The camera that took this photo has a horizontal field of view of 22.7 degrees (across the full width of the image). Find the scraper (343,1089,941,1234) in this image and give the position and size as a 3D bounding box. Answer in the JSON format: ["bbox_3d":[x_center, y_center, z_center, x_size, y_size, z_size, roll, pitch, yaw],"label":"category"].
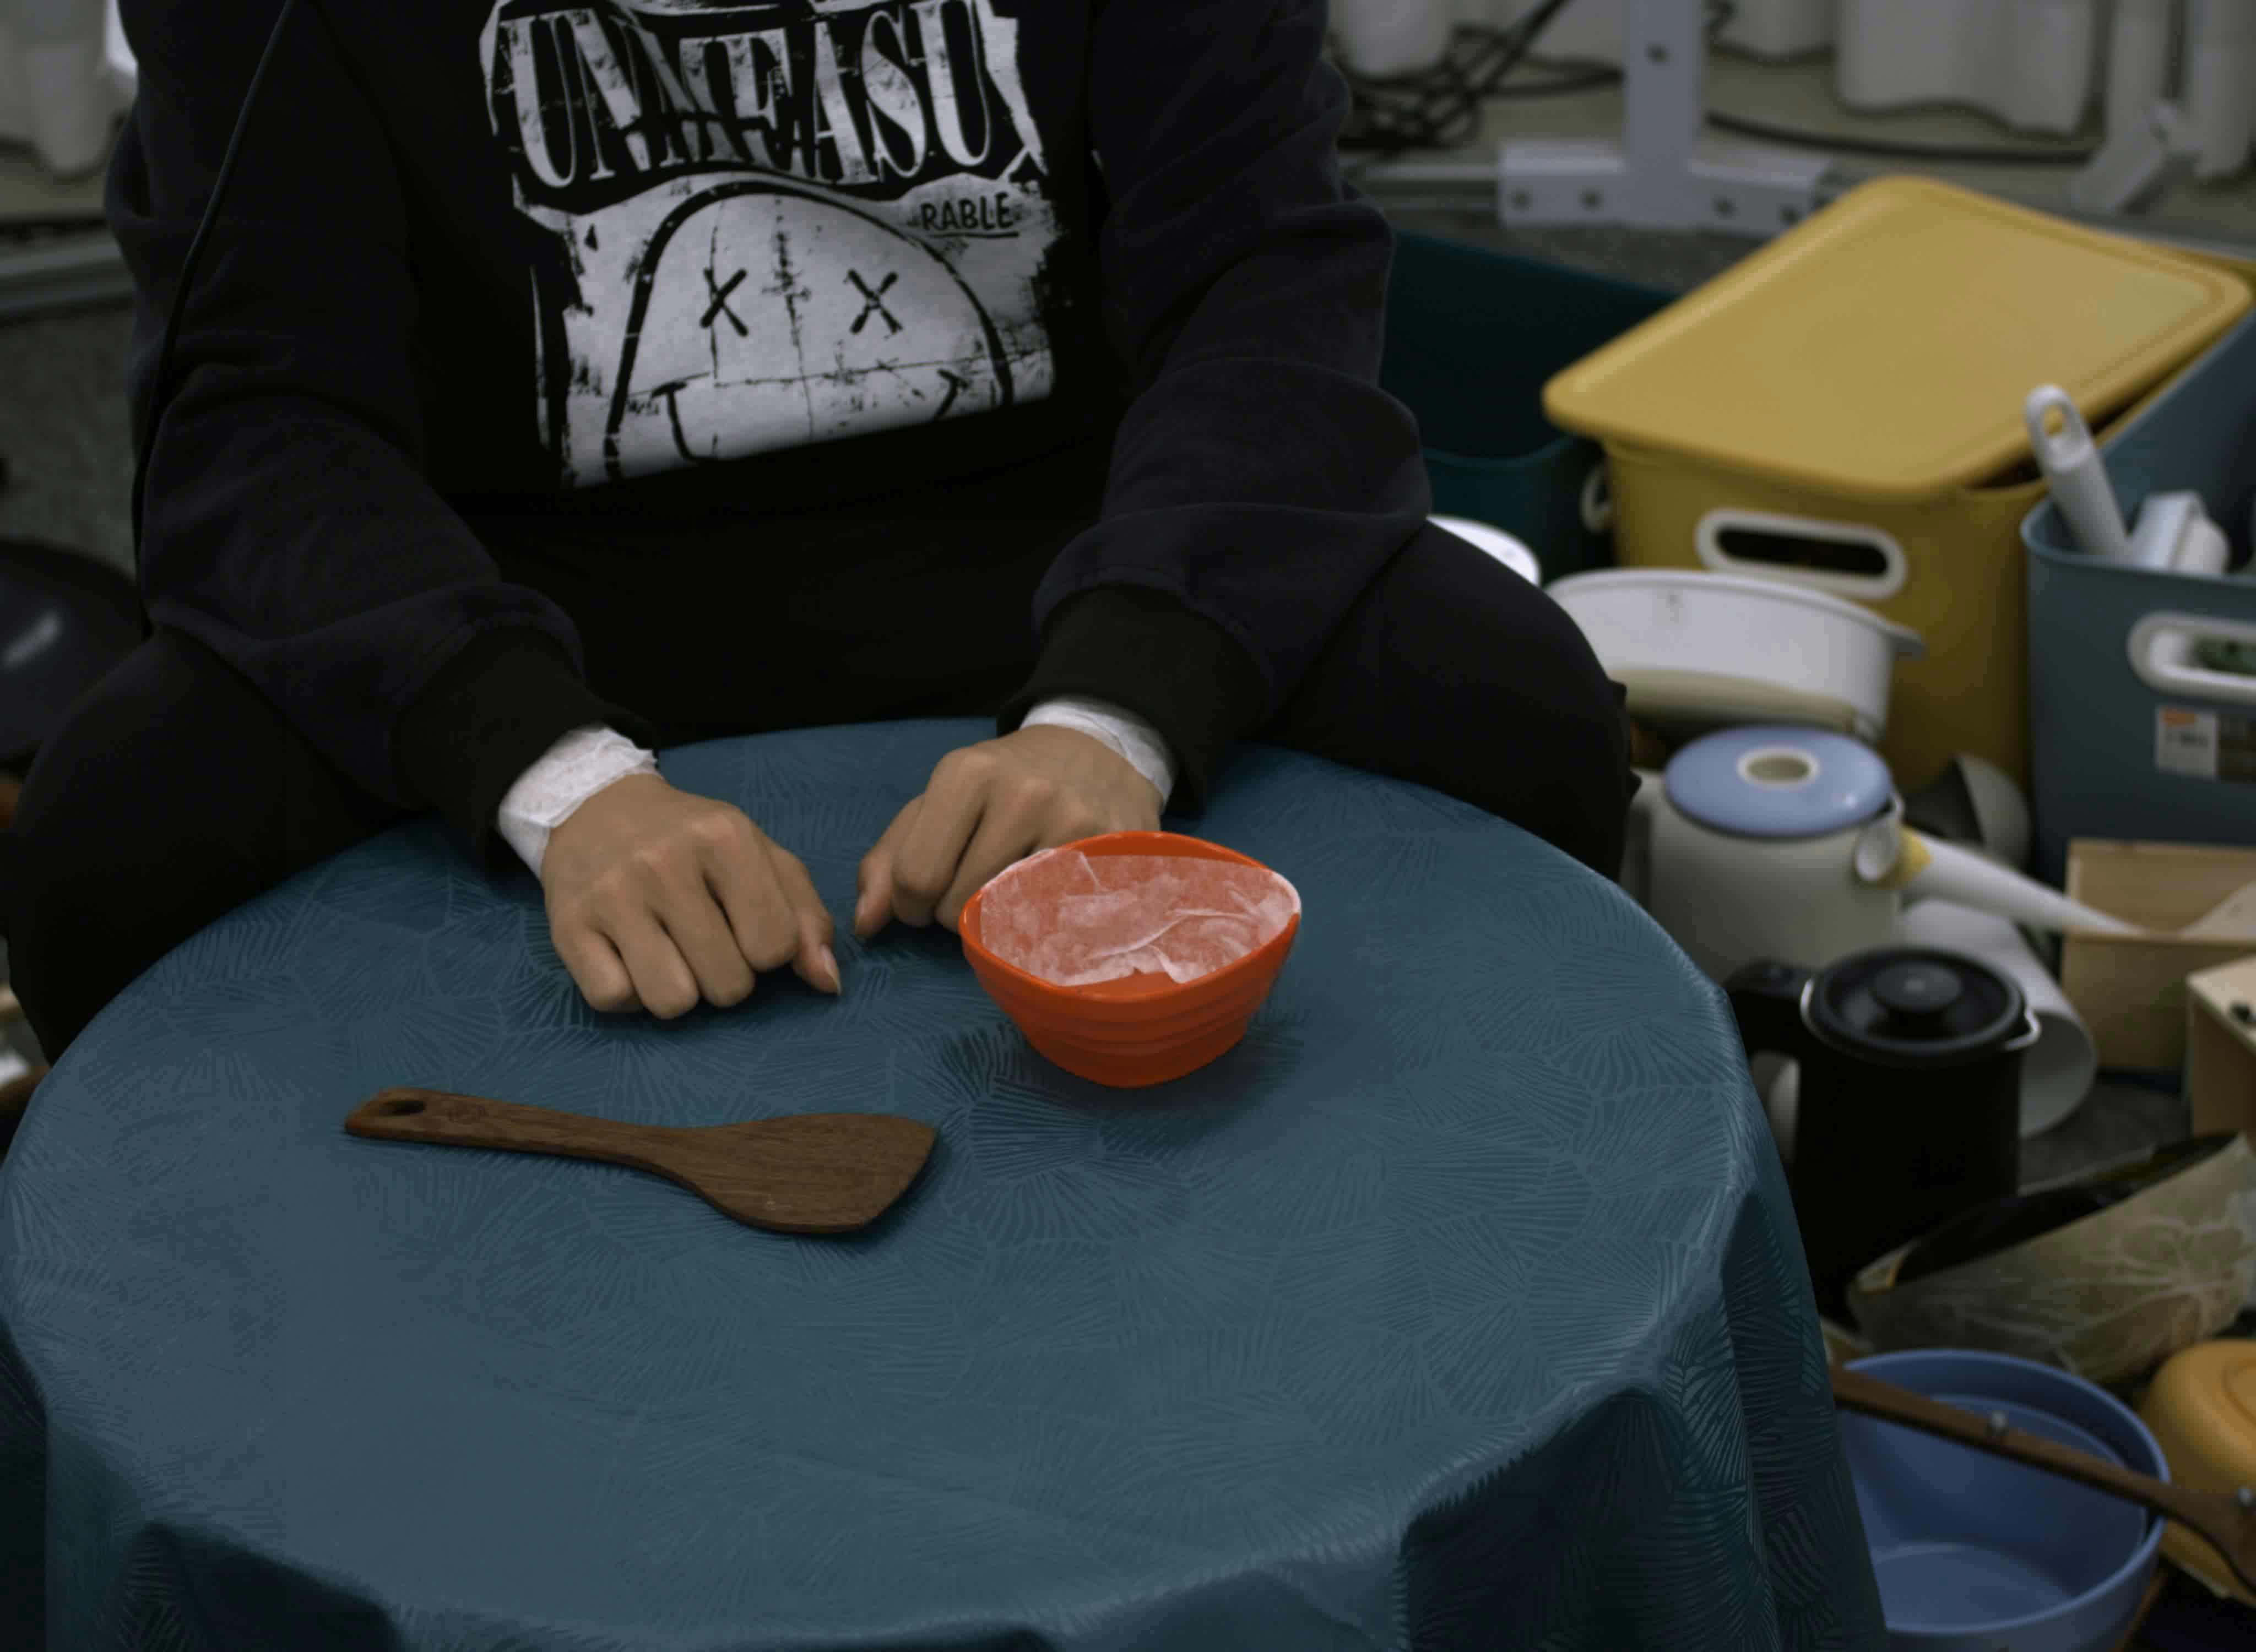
[{"bbox_3d":[-0.167,0.109,1.895,0.210,0.011,0.077,6,27,18],"label":"scraper"}]

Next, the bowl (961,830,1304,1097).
[{"bbox_3d":[0.003,0.052,1.943,0.118,0.051,0.121,-3,29,2],"label":"bowl"}]
